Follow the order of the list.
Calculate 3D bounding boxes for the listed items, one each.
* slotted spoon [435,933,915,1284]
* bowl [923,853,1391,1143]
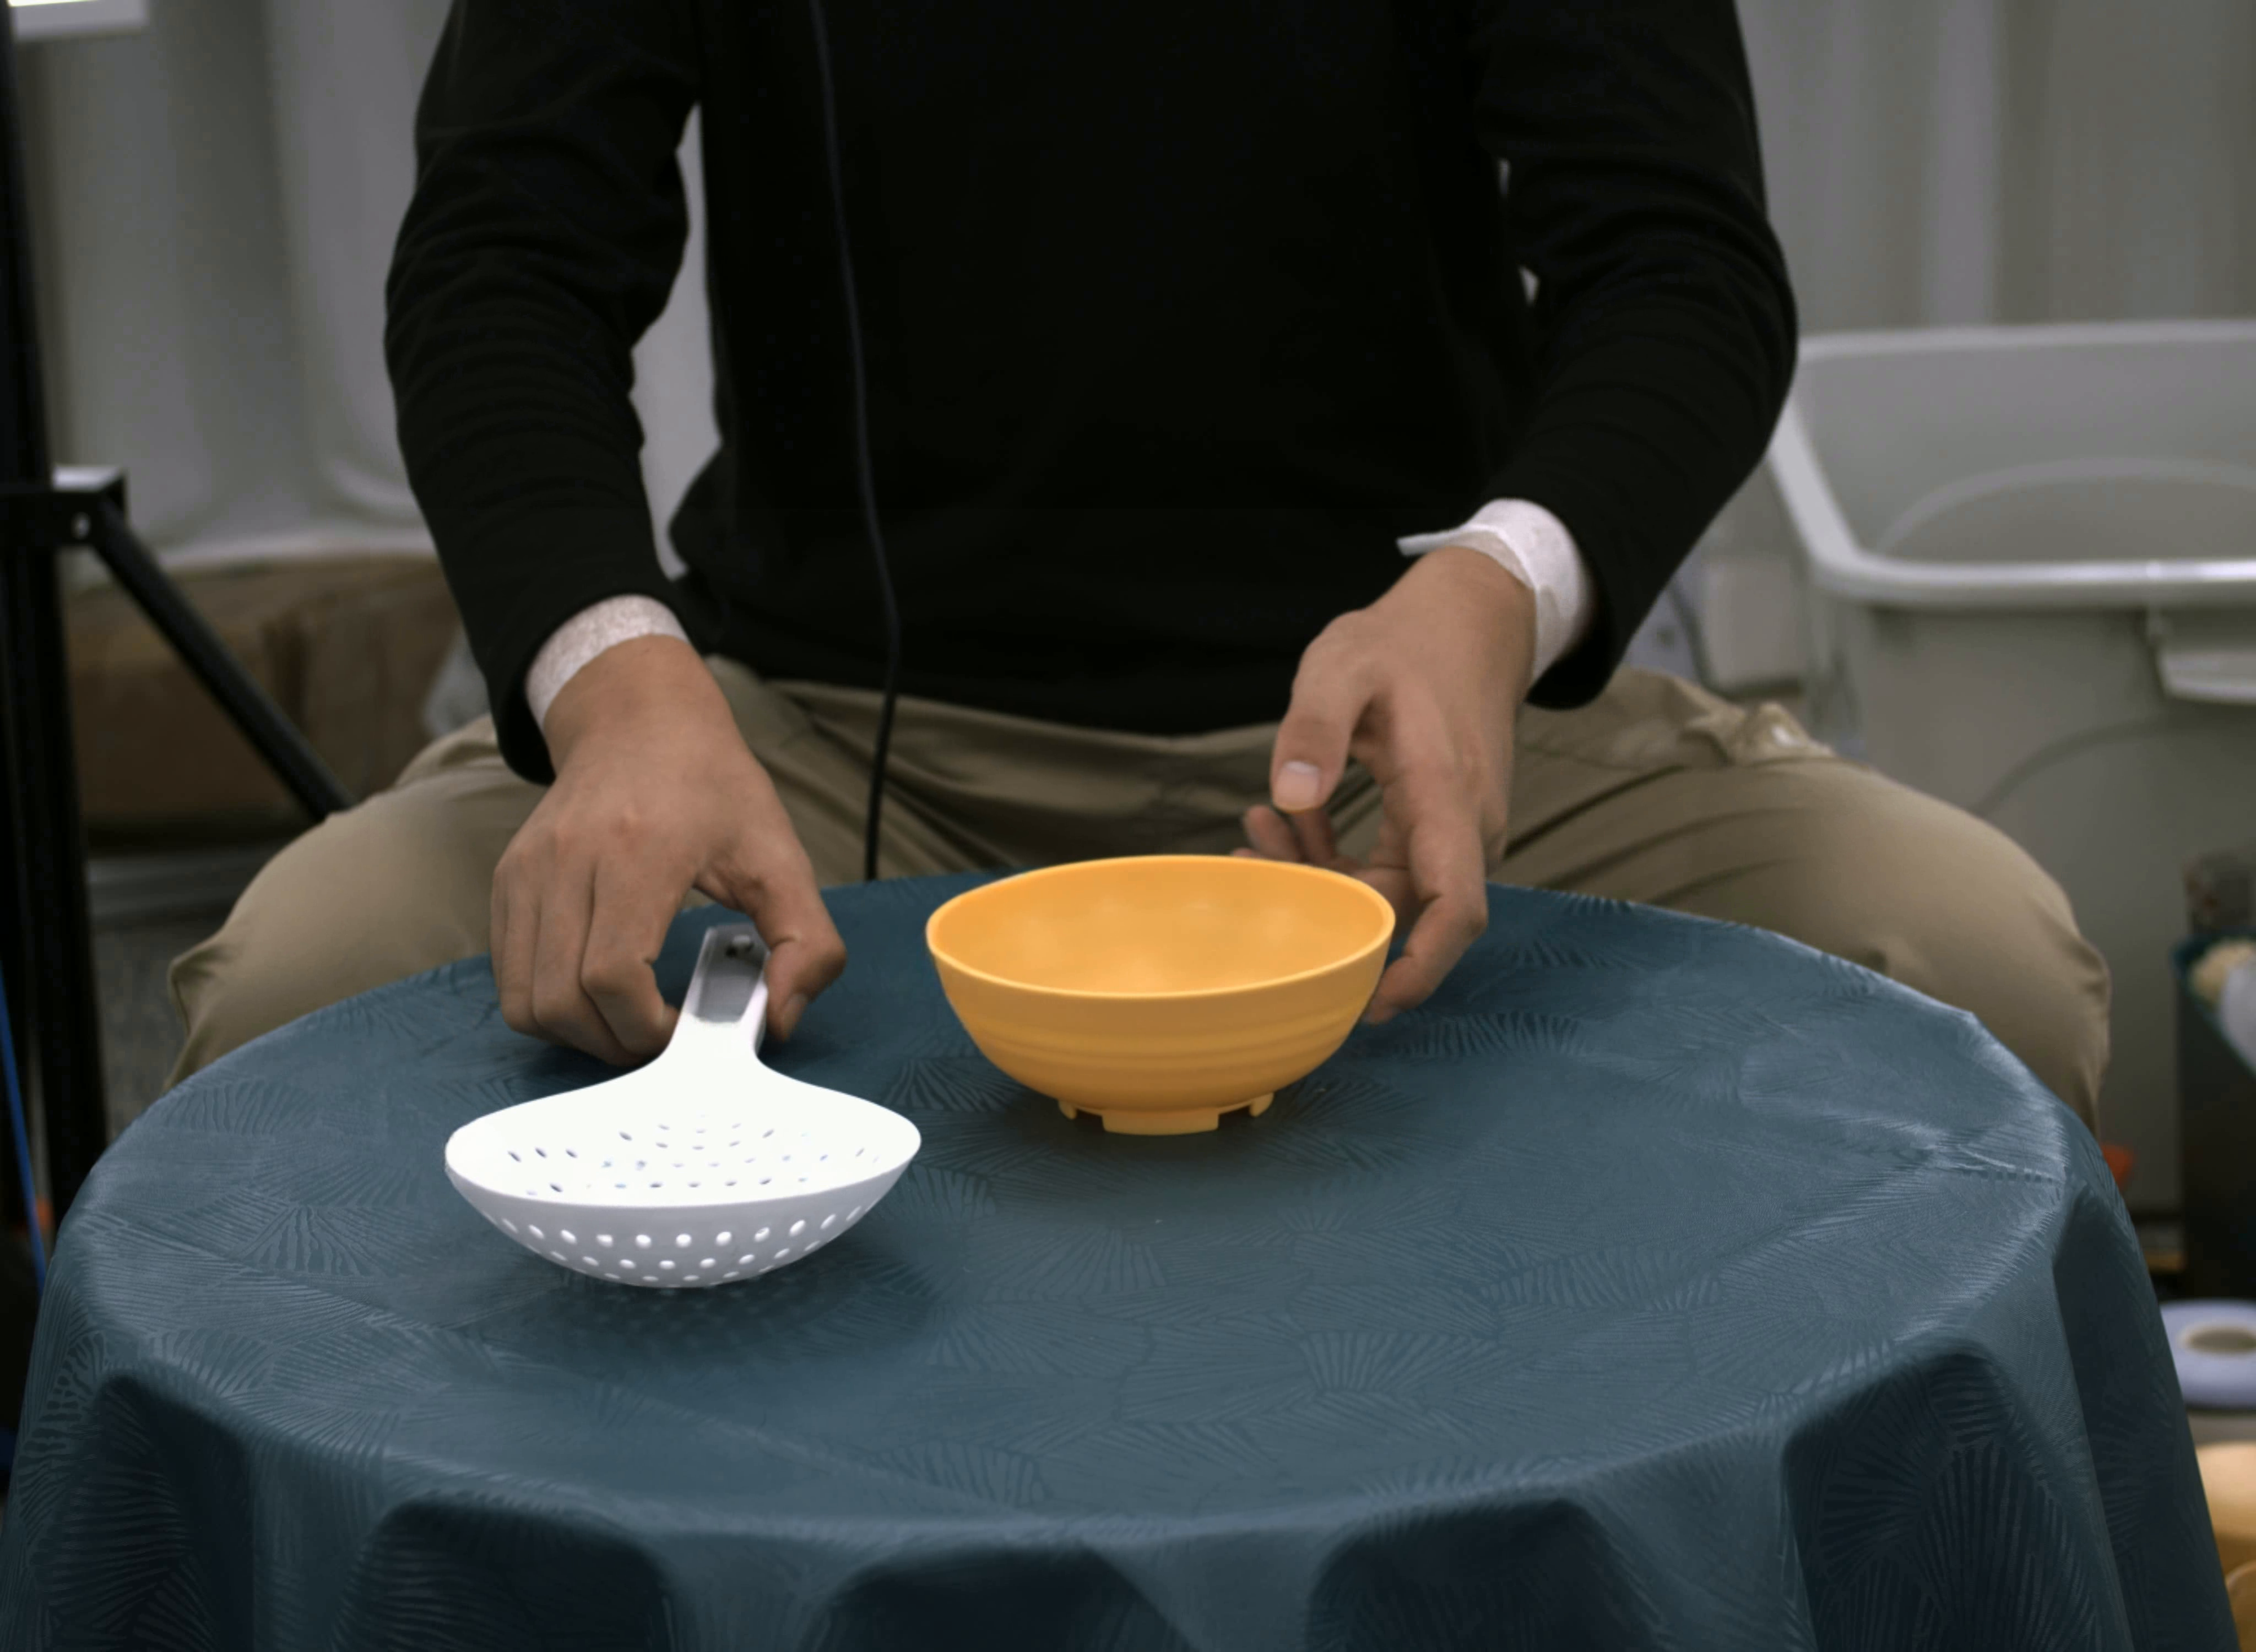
[{"bbox_3d":[-0.128,0.075,1.606,0.135,0.046,0.351,-1,15,0],"label":"slotted spoon"},{"bbox_3d":[0.009,0.058,1.631,0.144,0.060,0.146,-1,17,-1],"label":"bowl"}]
